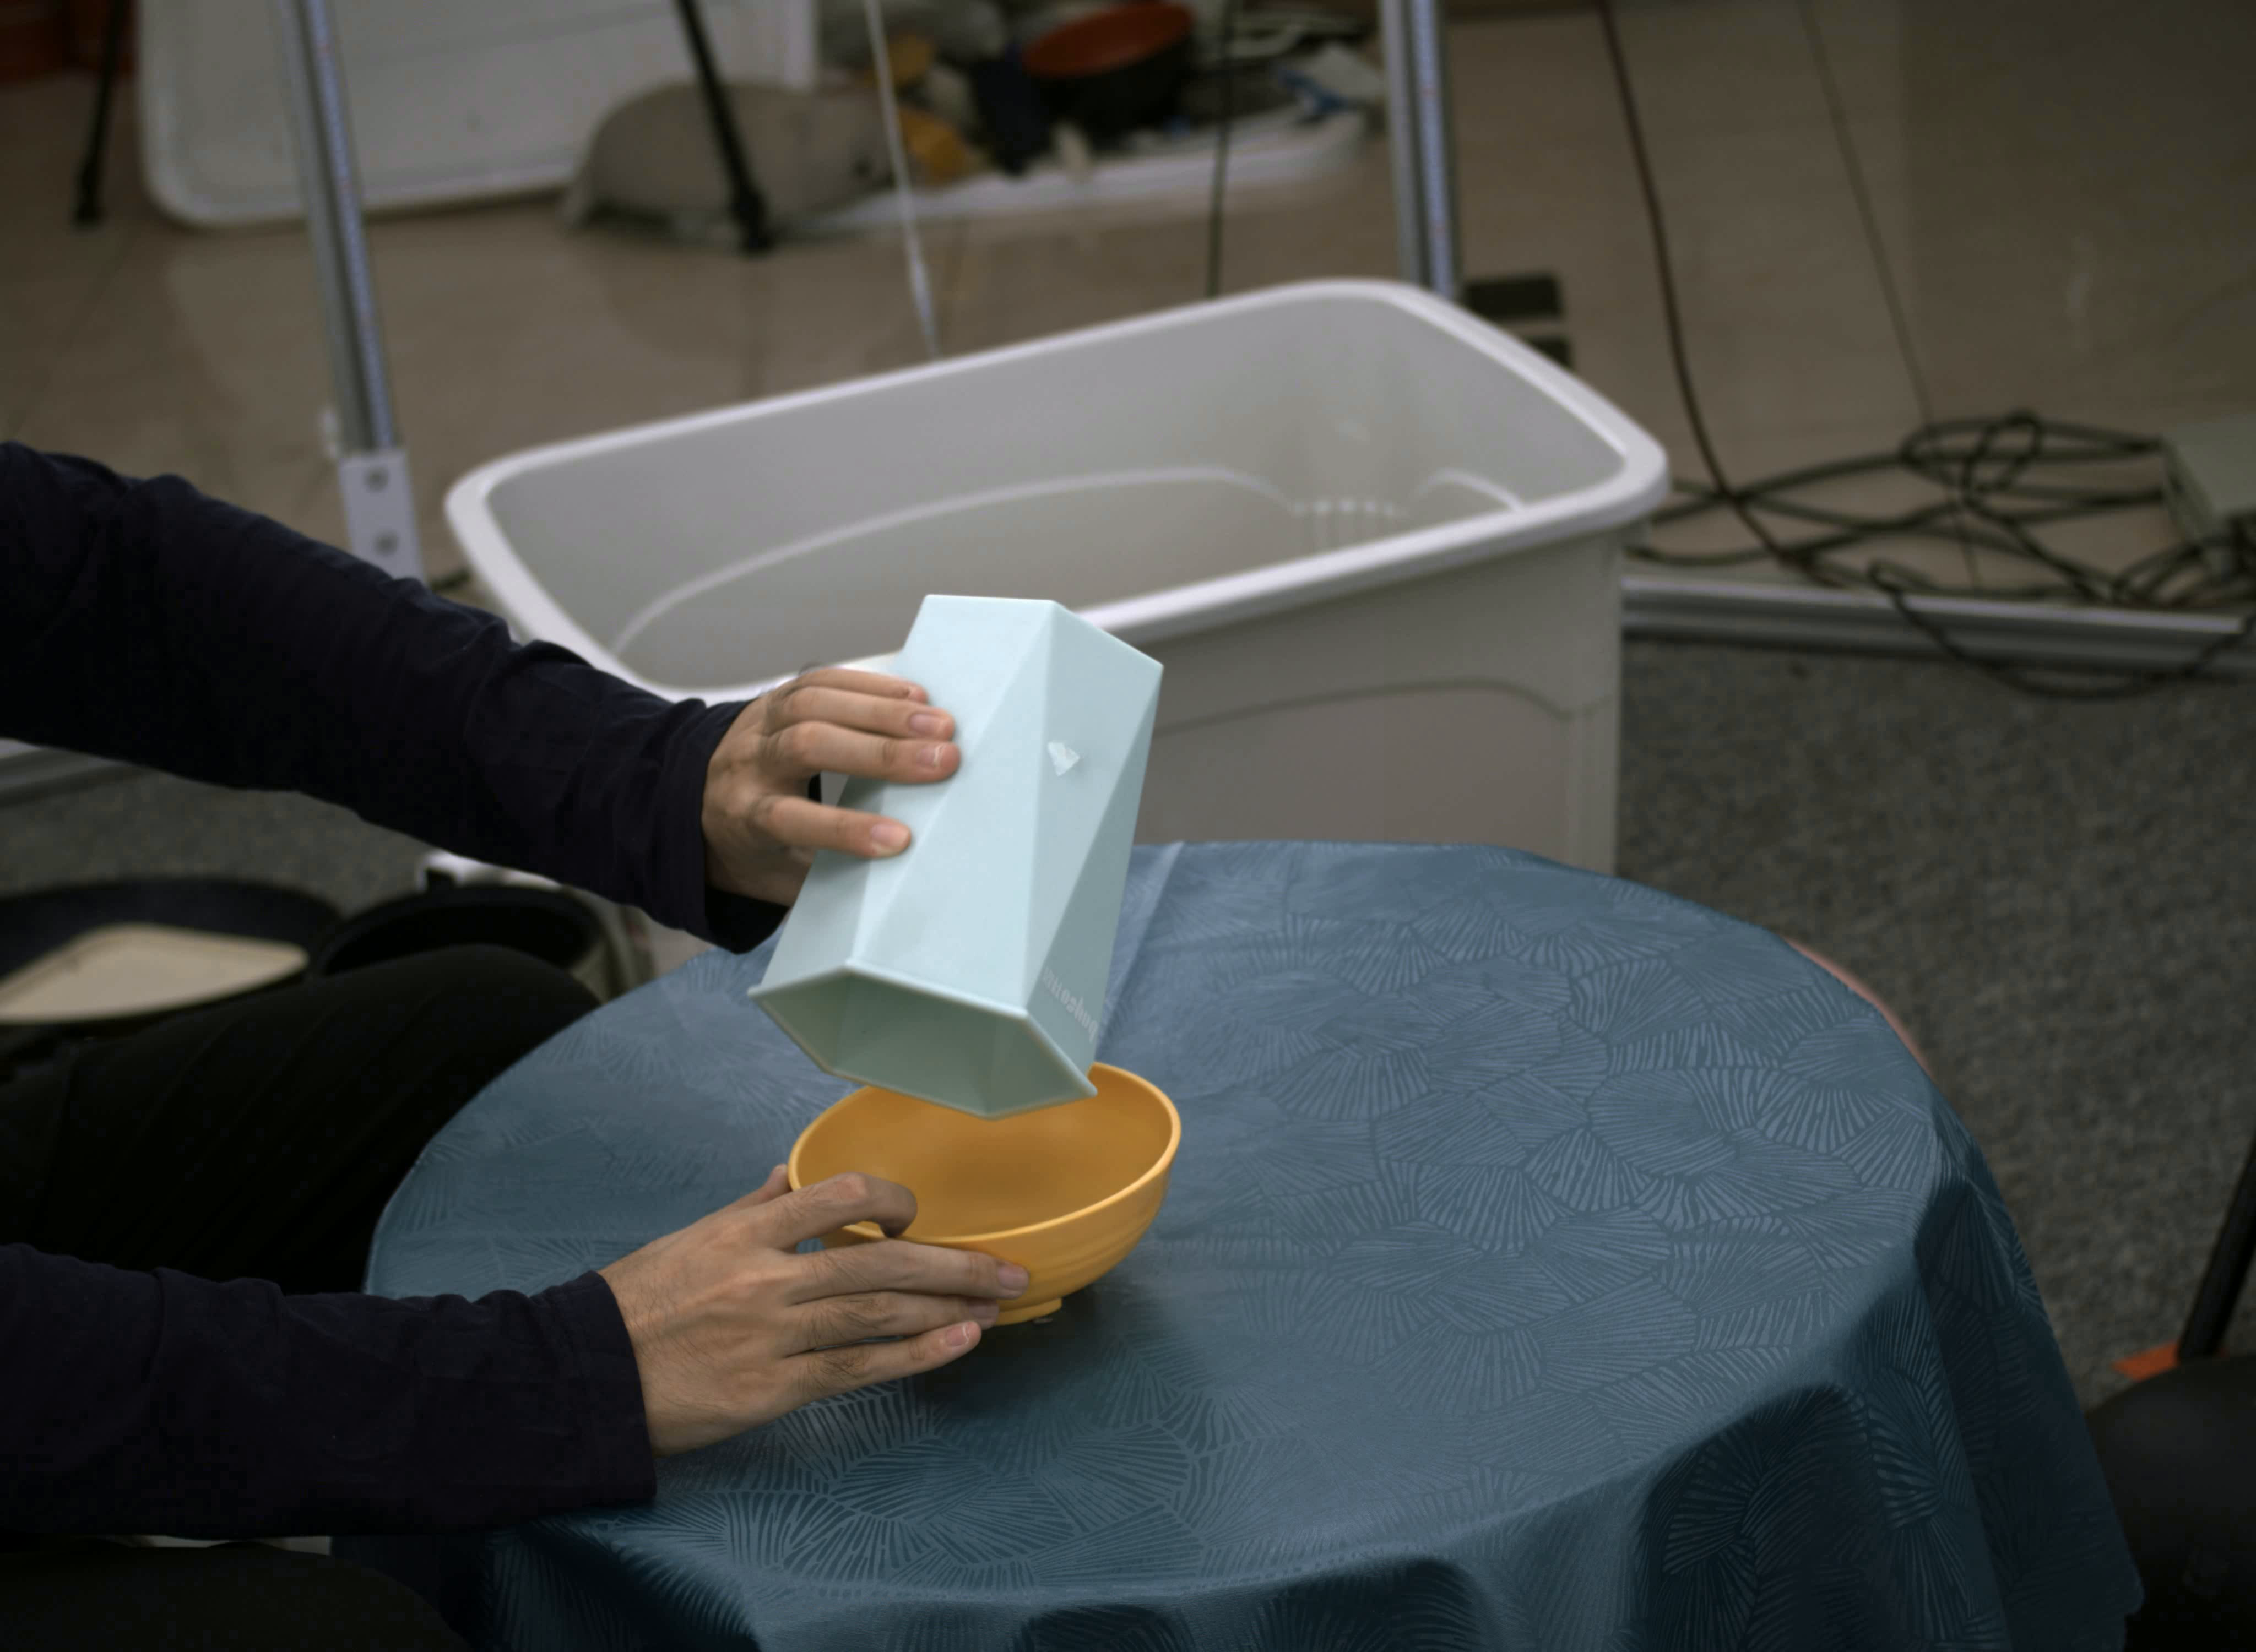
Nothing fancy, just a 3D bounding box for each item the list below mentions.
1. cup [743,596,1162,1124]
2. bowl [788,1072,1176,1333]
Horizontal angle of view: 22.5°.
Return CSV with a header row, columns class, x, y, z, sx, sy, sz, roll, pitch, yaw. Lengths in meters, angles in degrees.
class,x,y,z,sx,sy,sz,roll,pitch,yaw
cup,-0.054,0.008,2.064,0.115,0.133,0.161,5,66,29
bowl,-0.050,0.146,2.082,0.145,0.061,0.143,-8,23,3
